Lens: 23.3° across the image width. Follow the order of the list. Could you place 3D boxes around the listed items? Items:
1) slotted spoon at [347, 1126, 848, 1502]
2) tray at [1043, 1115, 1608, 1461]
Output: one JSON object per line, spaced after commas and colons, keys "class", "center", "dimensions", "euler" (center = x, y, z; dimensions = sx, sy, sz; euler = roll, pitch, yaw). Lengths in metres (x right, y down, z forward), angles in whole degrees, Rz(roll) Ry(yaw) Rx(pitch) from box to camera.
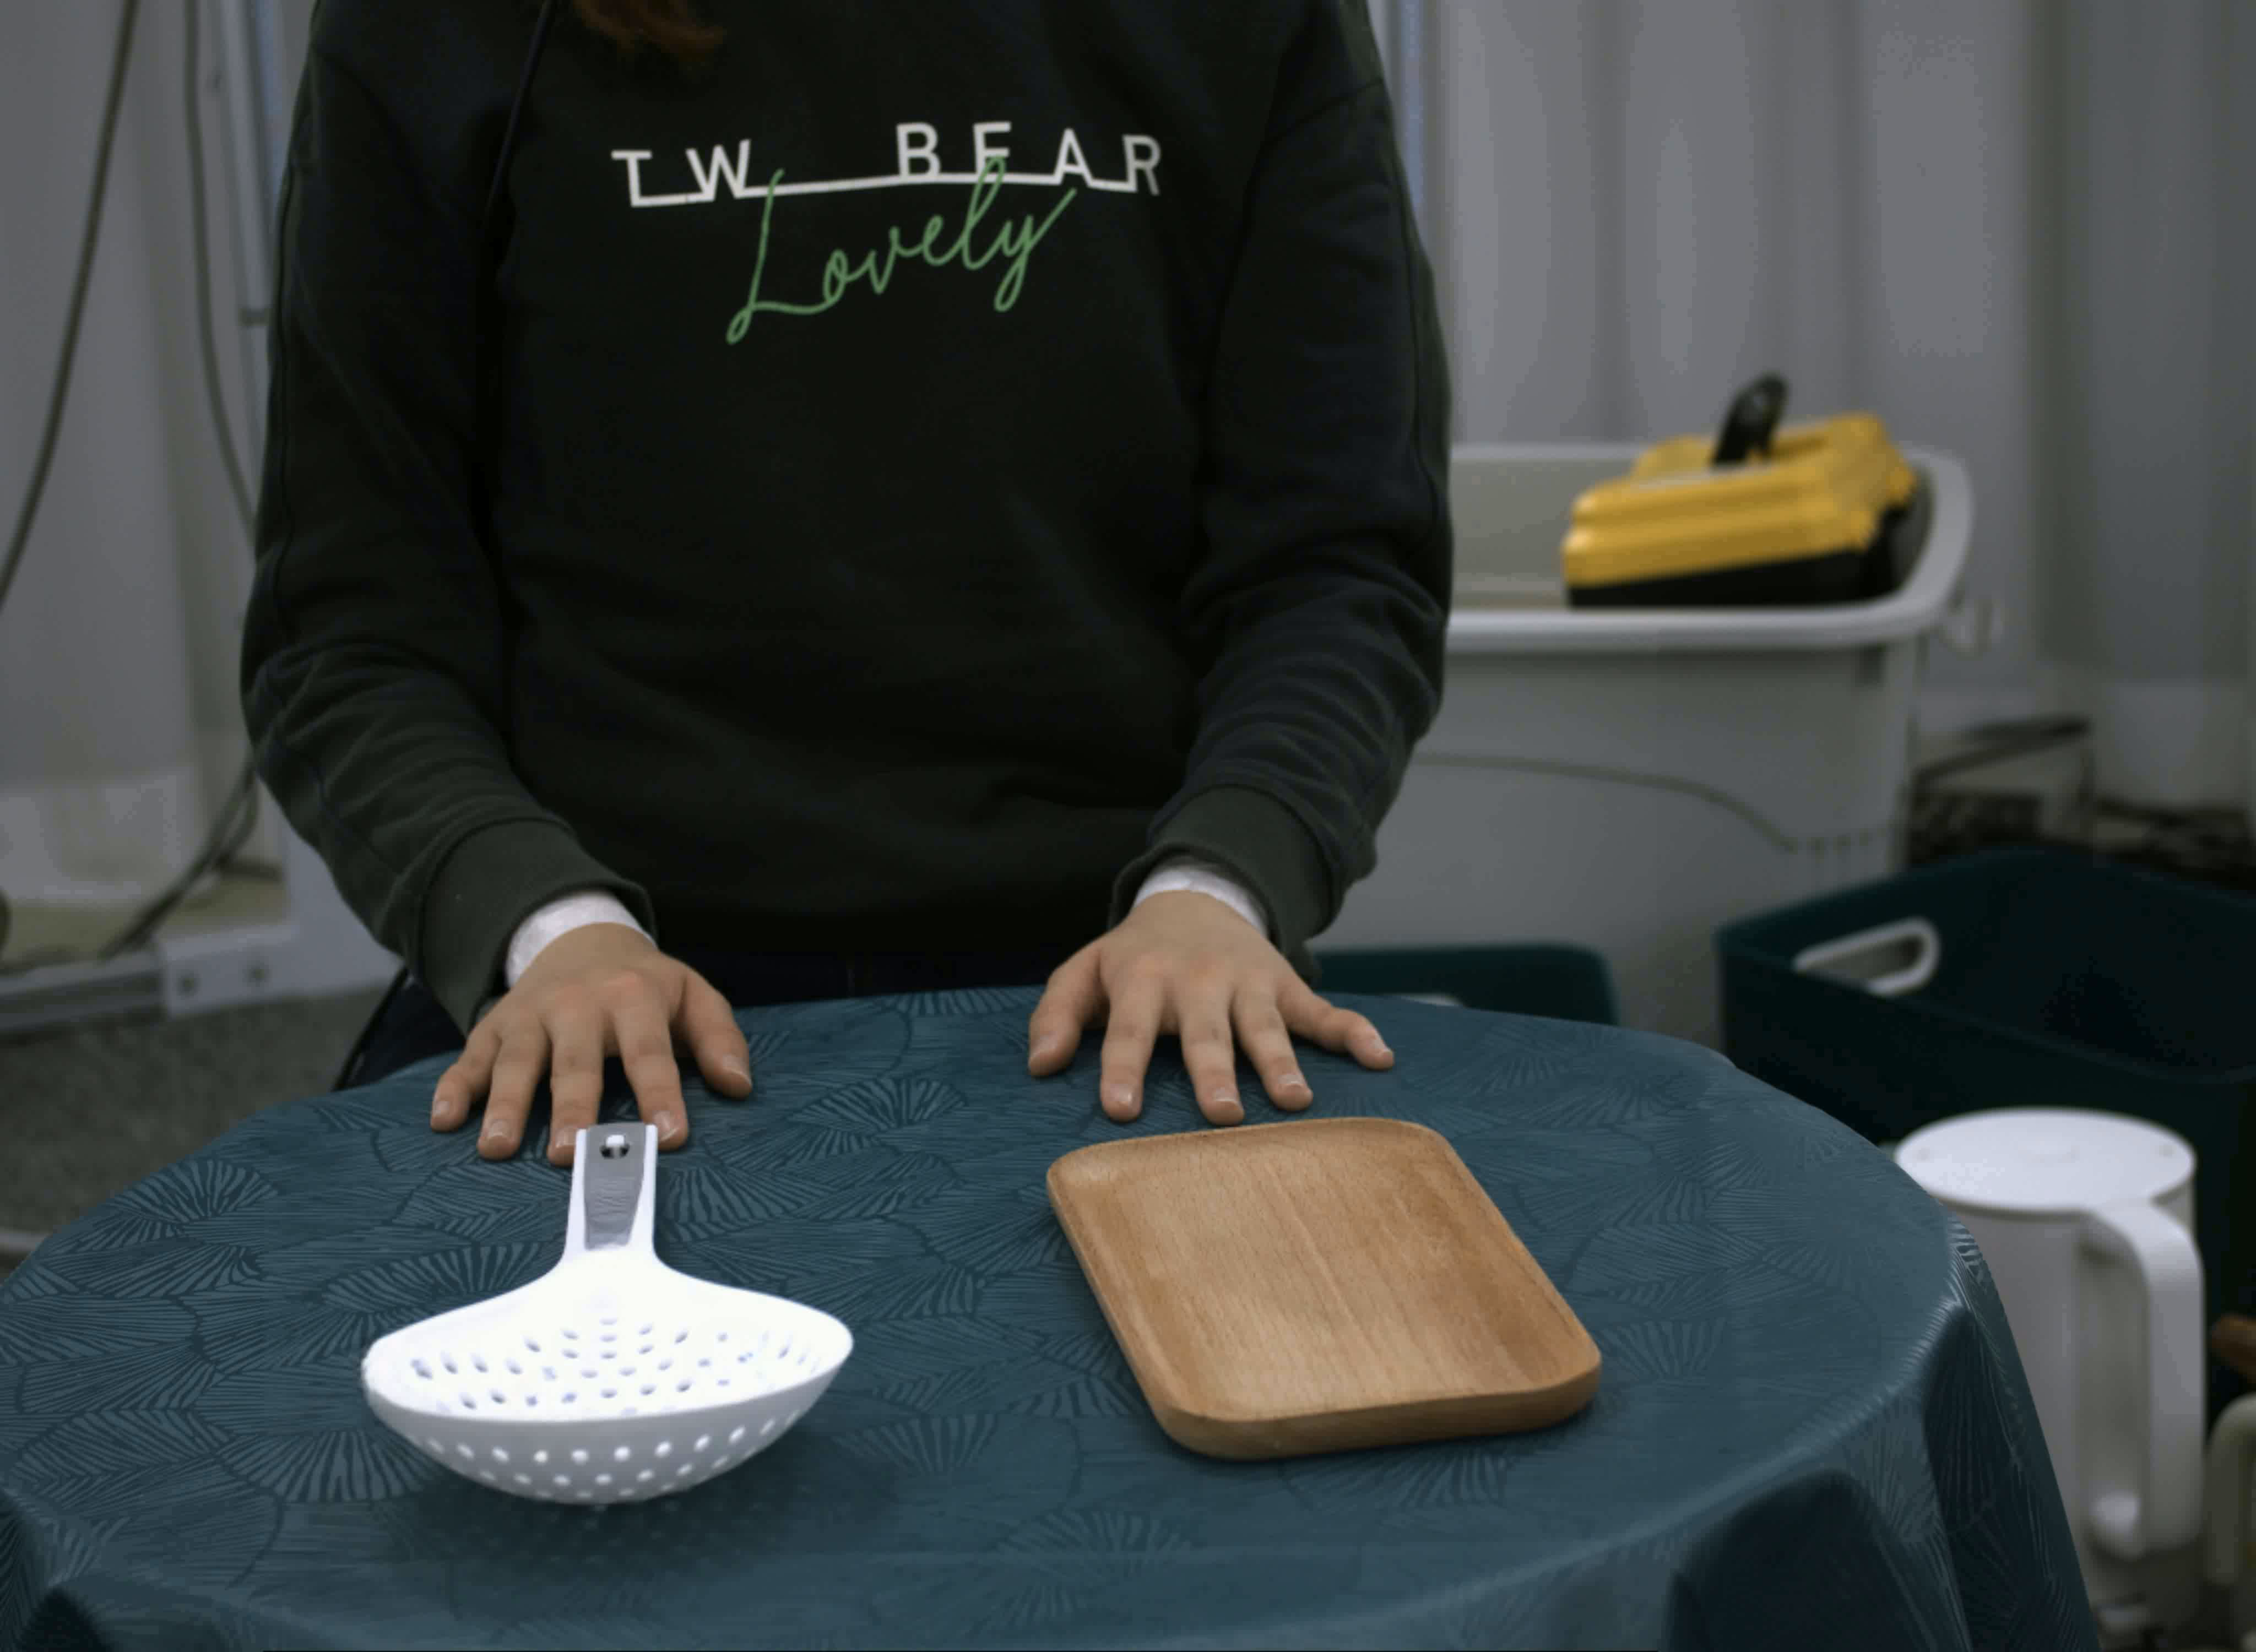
{"class": "slotted spoon", "center": [-0.151, 0.132, 1.590], "dimensions": [0.135, 0.045, 0.352], "euler": [-2, 14, -4]}
{"class": "tray", "center": [0.053, 0.133, 1.605], "dimensions": [0.130, 0.023, 0.252], "euler": [-3, 14, -9]}
